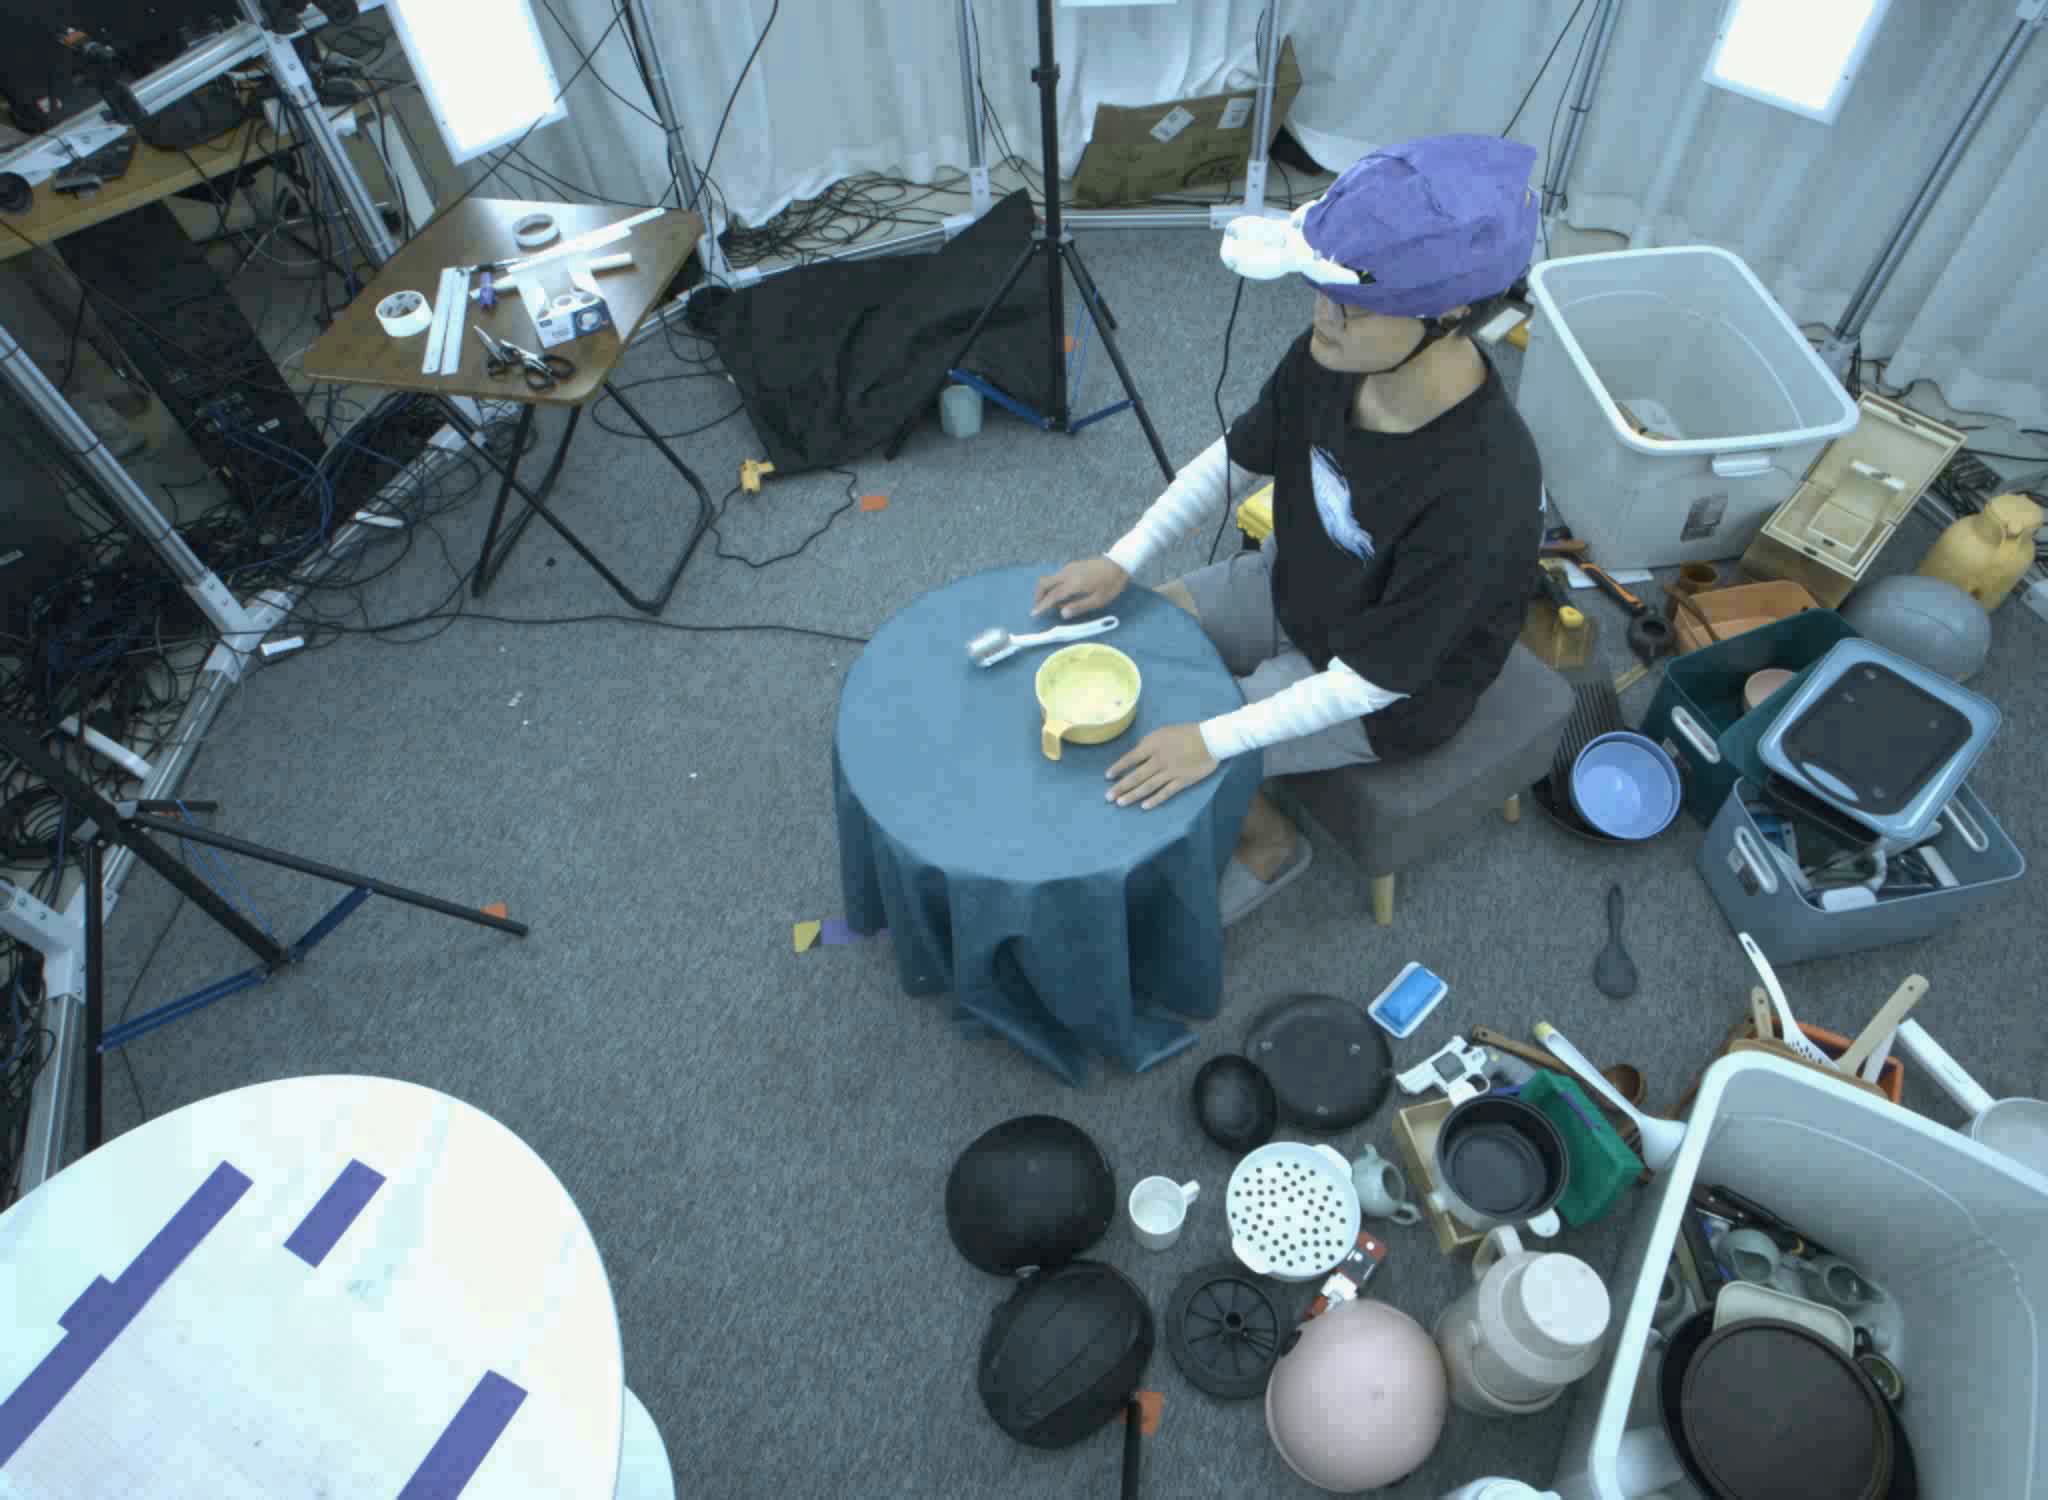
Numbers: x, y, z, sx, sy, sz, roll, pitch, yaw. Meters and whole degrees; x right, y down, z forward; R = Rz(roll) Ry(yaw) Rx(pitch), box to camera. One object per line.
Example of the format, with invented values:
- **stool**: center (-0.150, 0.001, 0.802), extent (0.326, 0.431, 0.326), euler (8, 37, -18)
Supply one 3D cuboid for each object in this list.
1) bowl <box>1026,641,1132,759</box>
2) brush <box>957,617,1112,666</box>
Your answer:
- **bowl**: center (0.073, -0.072, 1.786), extent (0.151, 0.075, 0.180), euler (24, 58, 17)
- **brush**: center (0.017, -0.180, 1.876), extent (0.245, 0.051, 0.034), euler (-15, 53, -8)
